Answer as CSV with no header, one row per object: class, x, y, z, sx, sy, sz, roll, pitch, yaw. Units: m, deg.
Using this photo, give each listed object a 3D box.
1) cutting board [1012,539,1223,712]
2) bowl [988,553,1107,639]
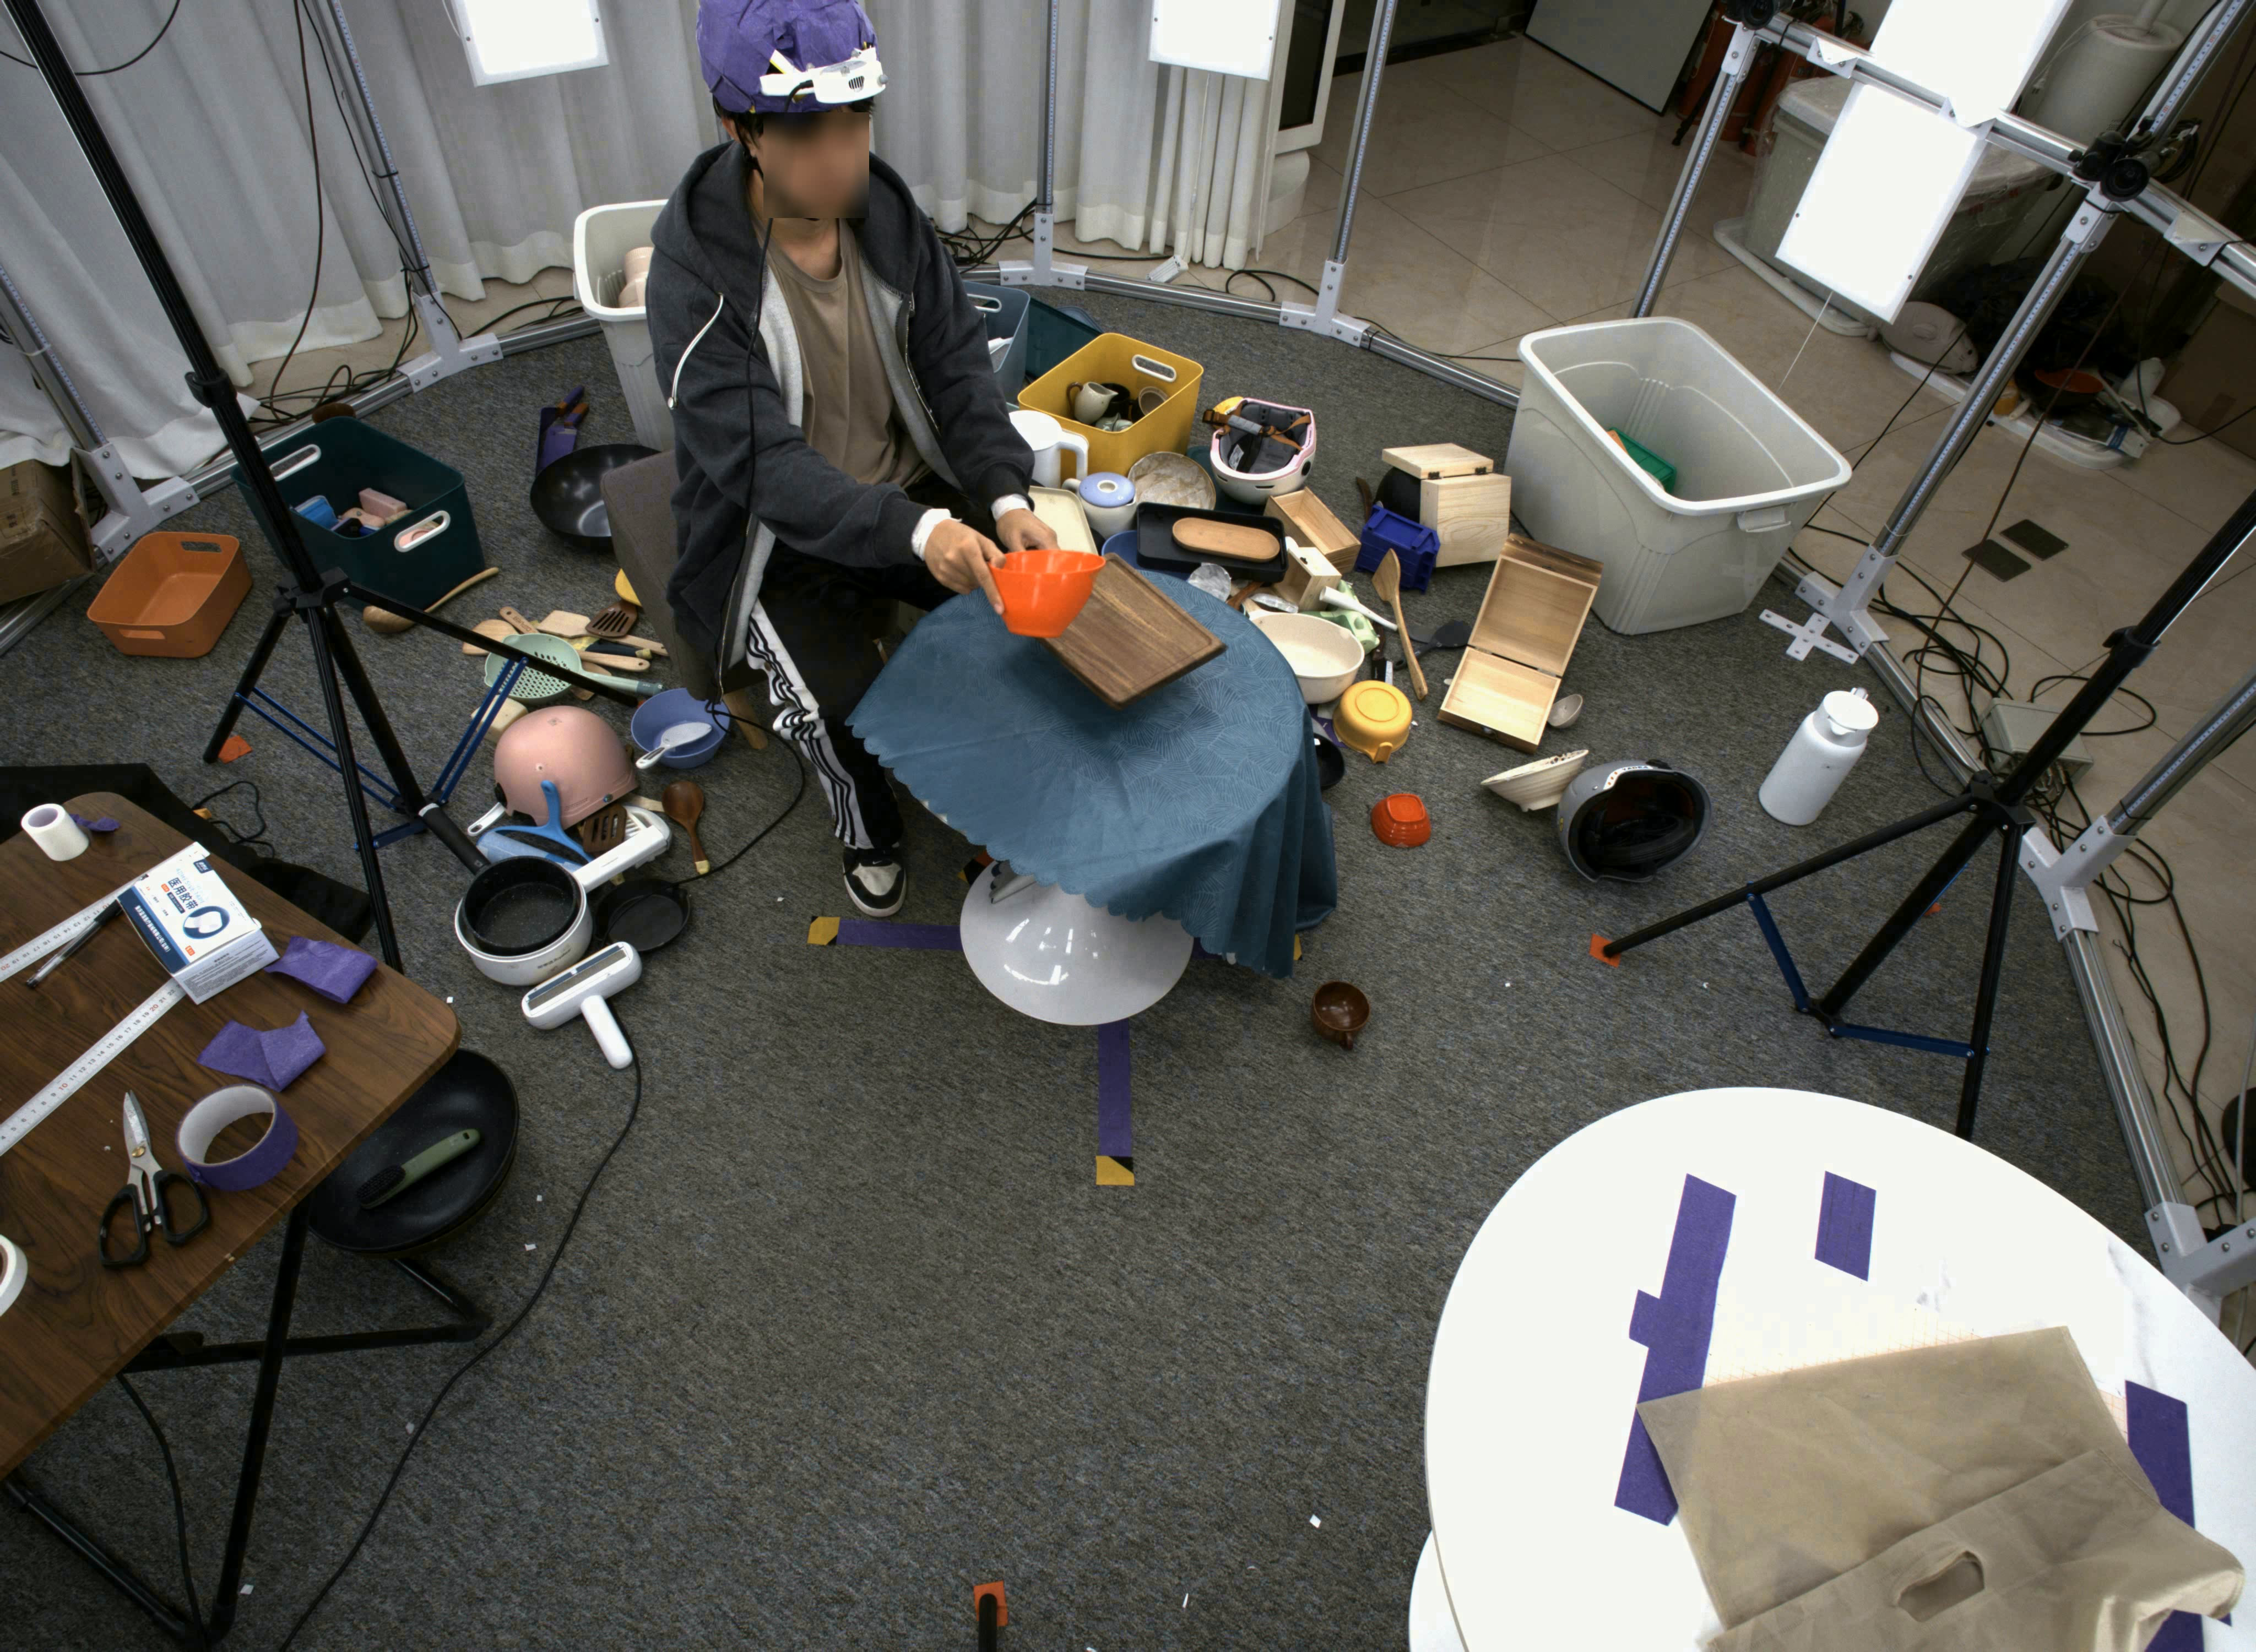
cutting board,-0.051,-0.310,1.837,0.202,0.022,0.358,-31,58,-25
bowl,-0.106,-0.293,1.626,0.148,0.104,0.149,7,12,-2
